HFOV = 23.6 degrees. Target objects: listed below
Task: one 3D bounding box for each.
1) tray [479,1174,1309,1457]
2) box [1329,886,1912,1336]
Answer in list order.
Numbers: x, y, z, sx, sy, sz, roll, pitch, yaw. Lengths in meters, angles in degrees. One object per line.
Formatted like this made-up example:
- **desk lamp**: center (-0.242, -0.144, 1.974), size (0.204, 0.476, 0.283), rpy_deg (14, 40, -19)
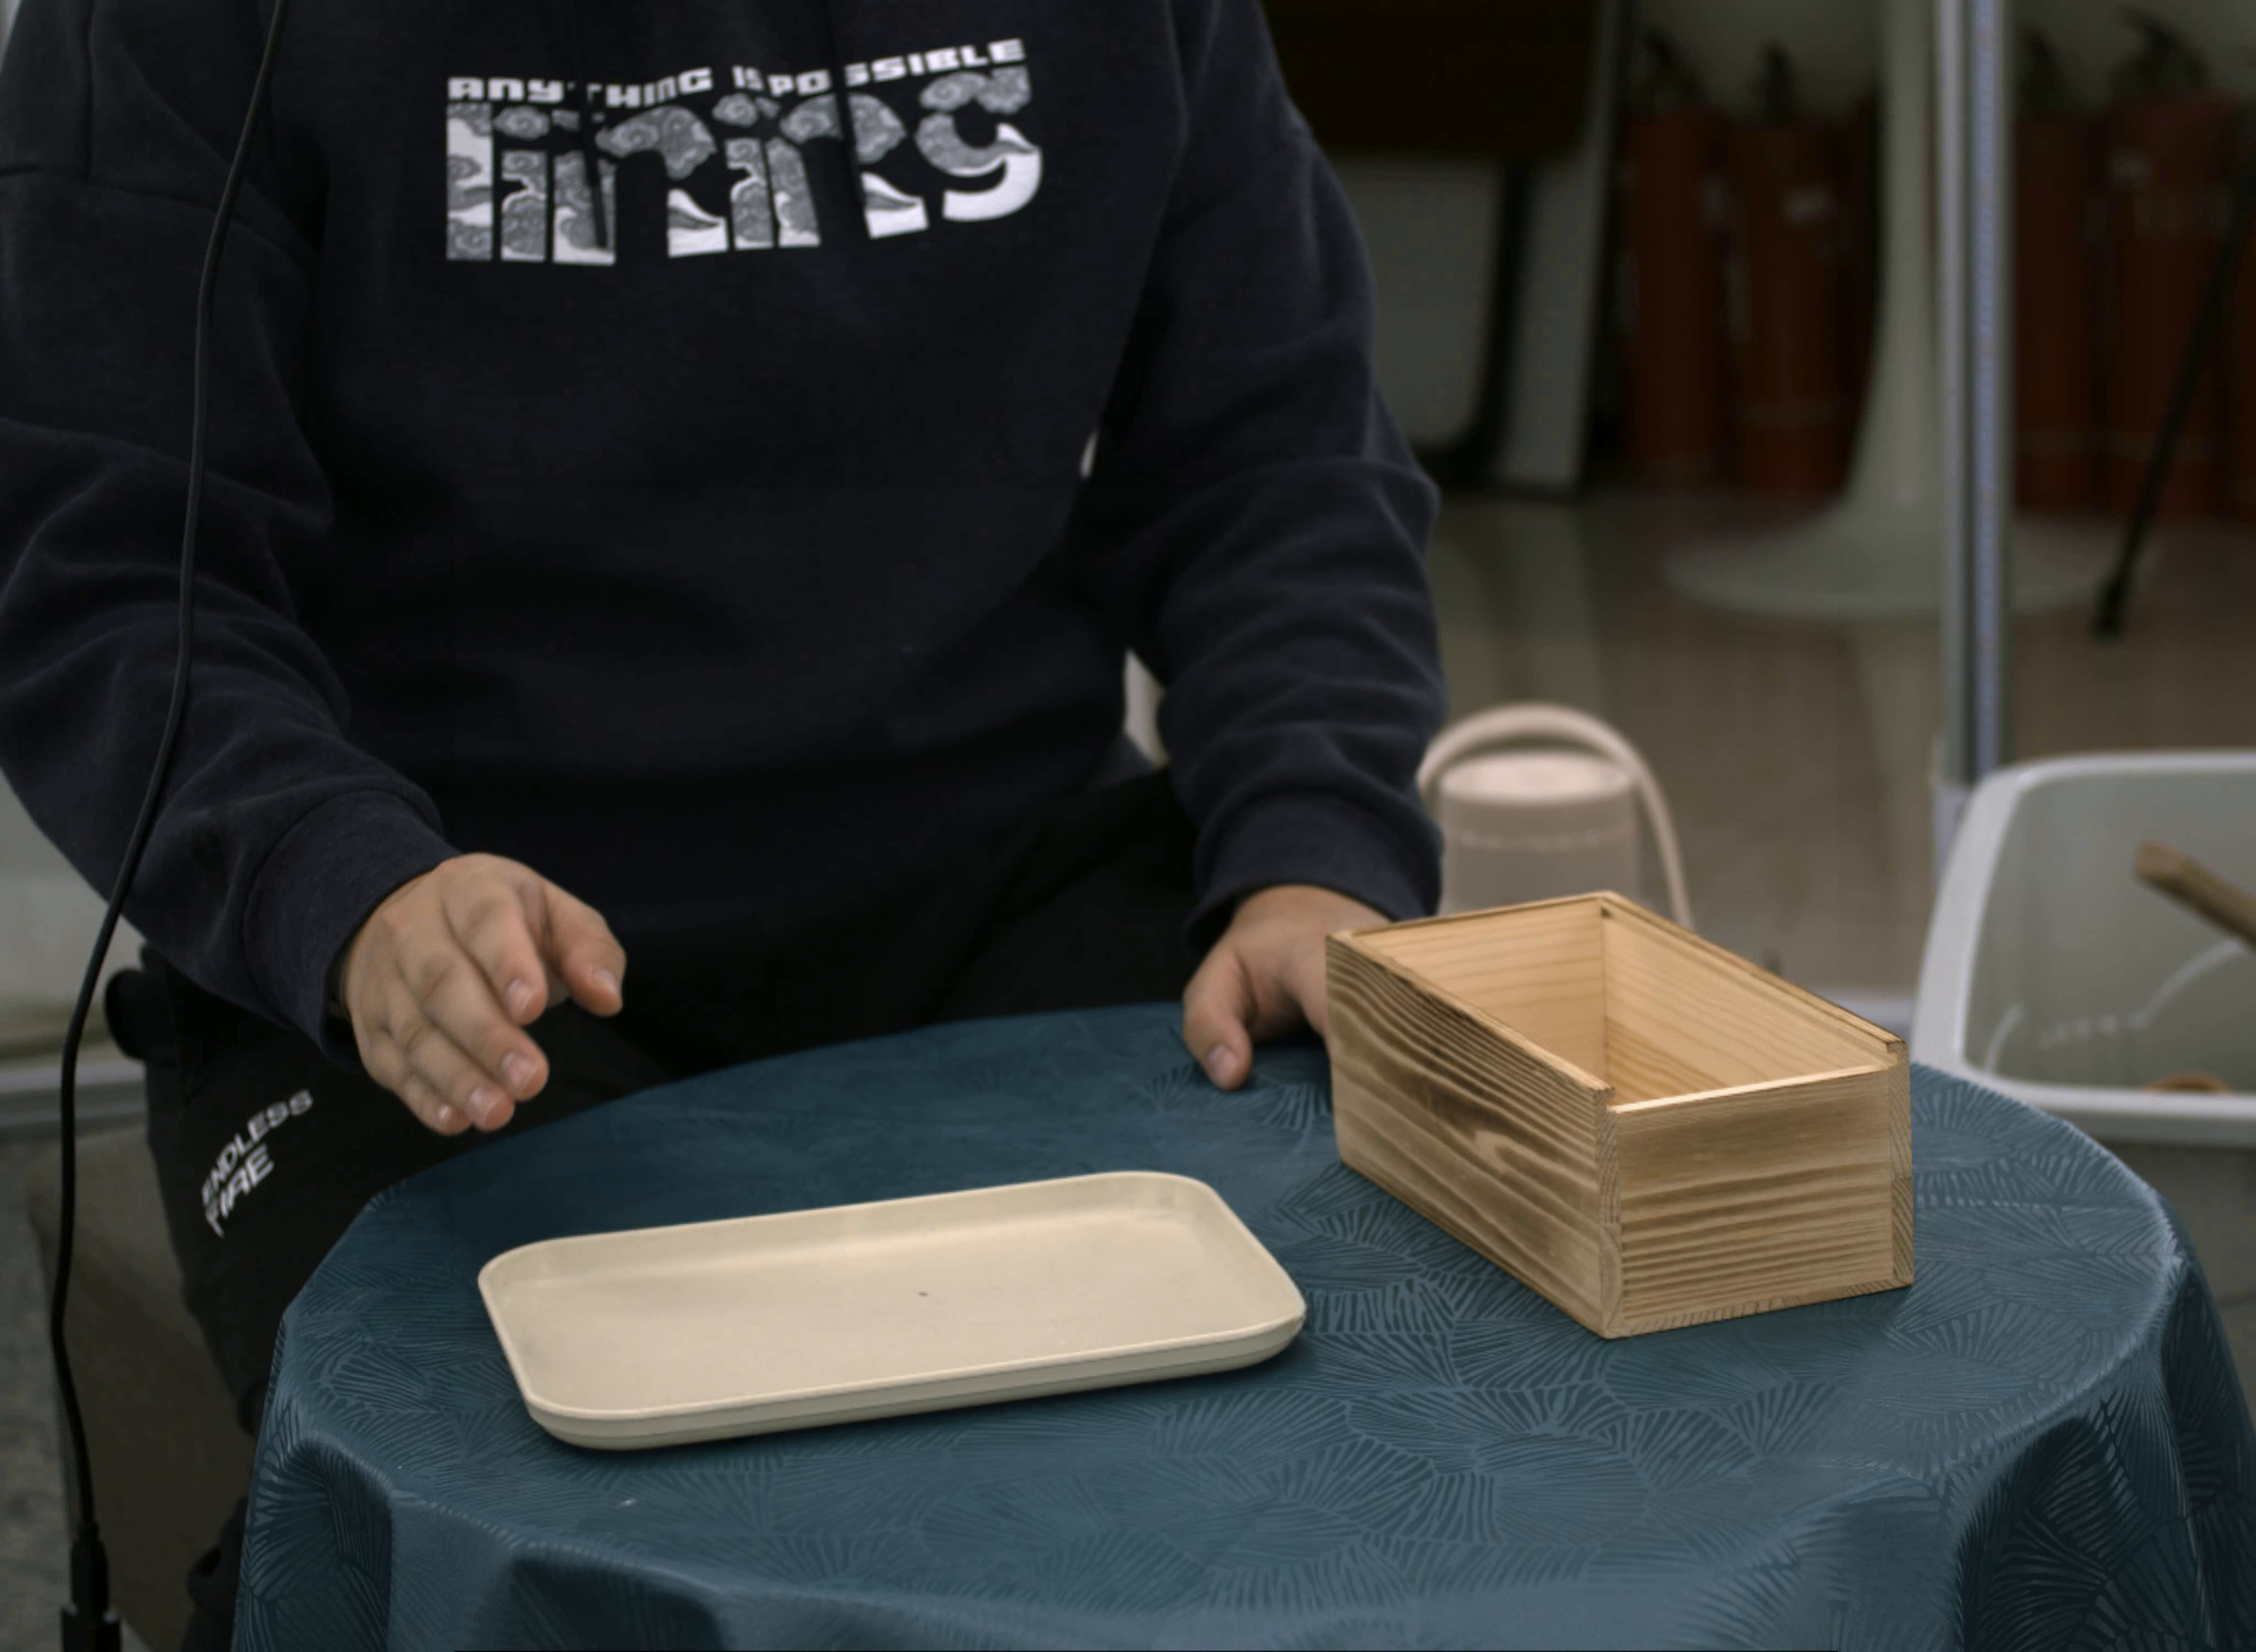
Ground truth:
- **tray**: center (-0.073, 0.149, 1.647), size (0.235, 0.017, 0.172), rpy_deg (-7, 13, -11)
- **box**: center (0.152, 0.086, 1.705), size (0.105, 0.081, 0.213), rpy_deg (-8, 14, -19)
